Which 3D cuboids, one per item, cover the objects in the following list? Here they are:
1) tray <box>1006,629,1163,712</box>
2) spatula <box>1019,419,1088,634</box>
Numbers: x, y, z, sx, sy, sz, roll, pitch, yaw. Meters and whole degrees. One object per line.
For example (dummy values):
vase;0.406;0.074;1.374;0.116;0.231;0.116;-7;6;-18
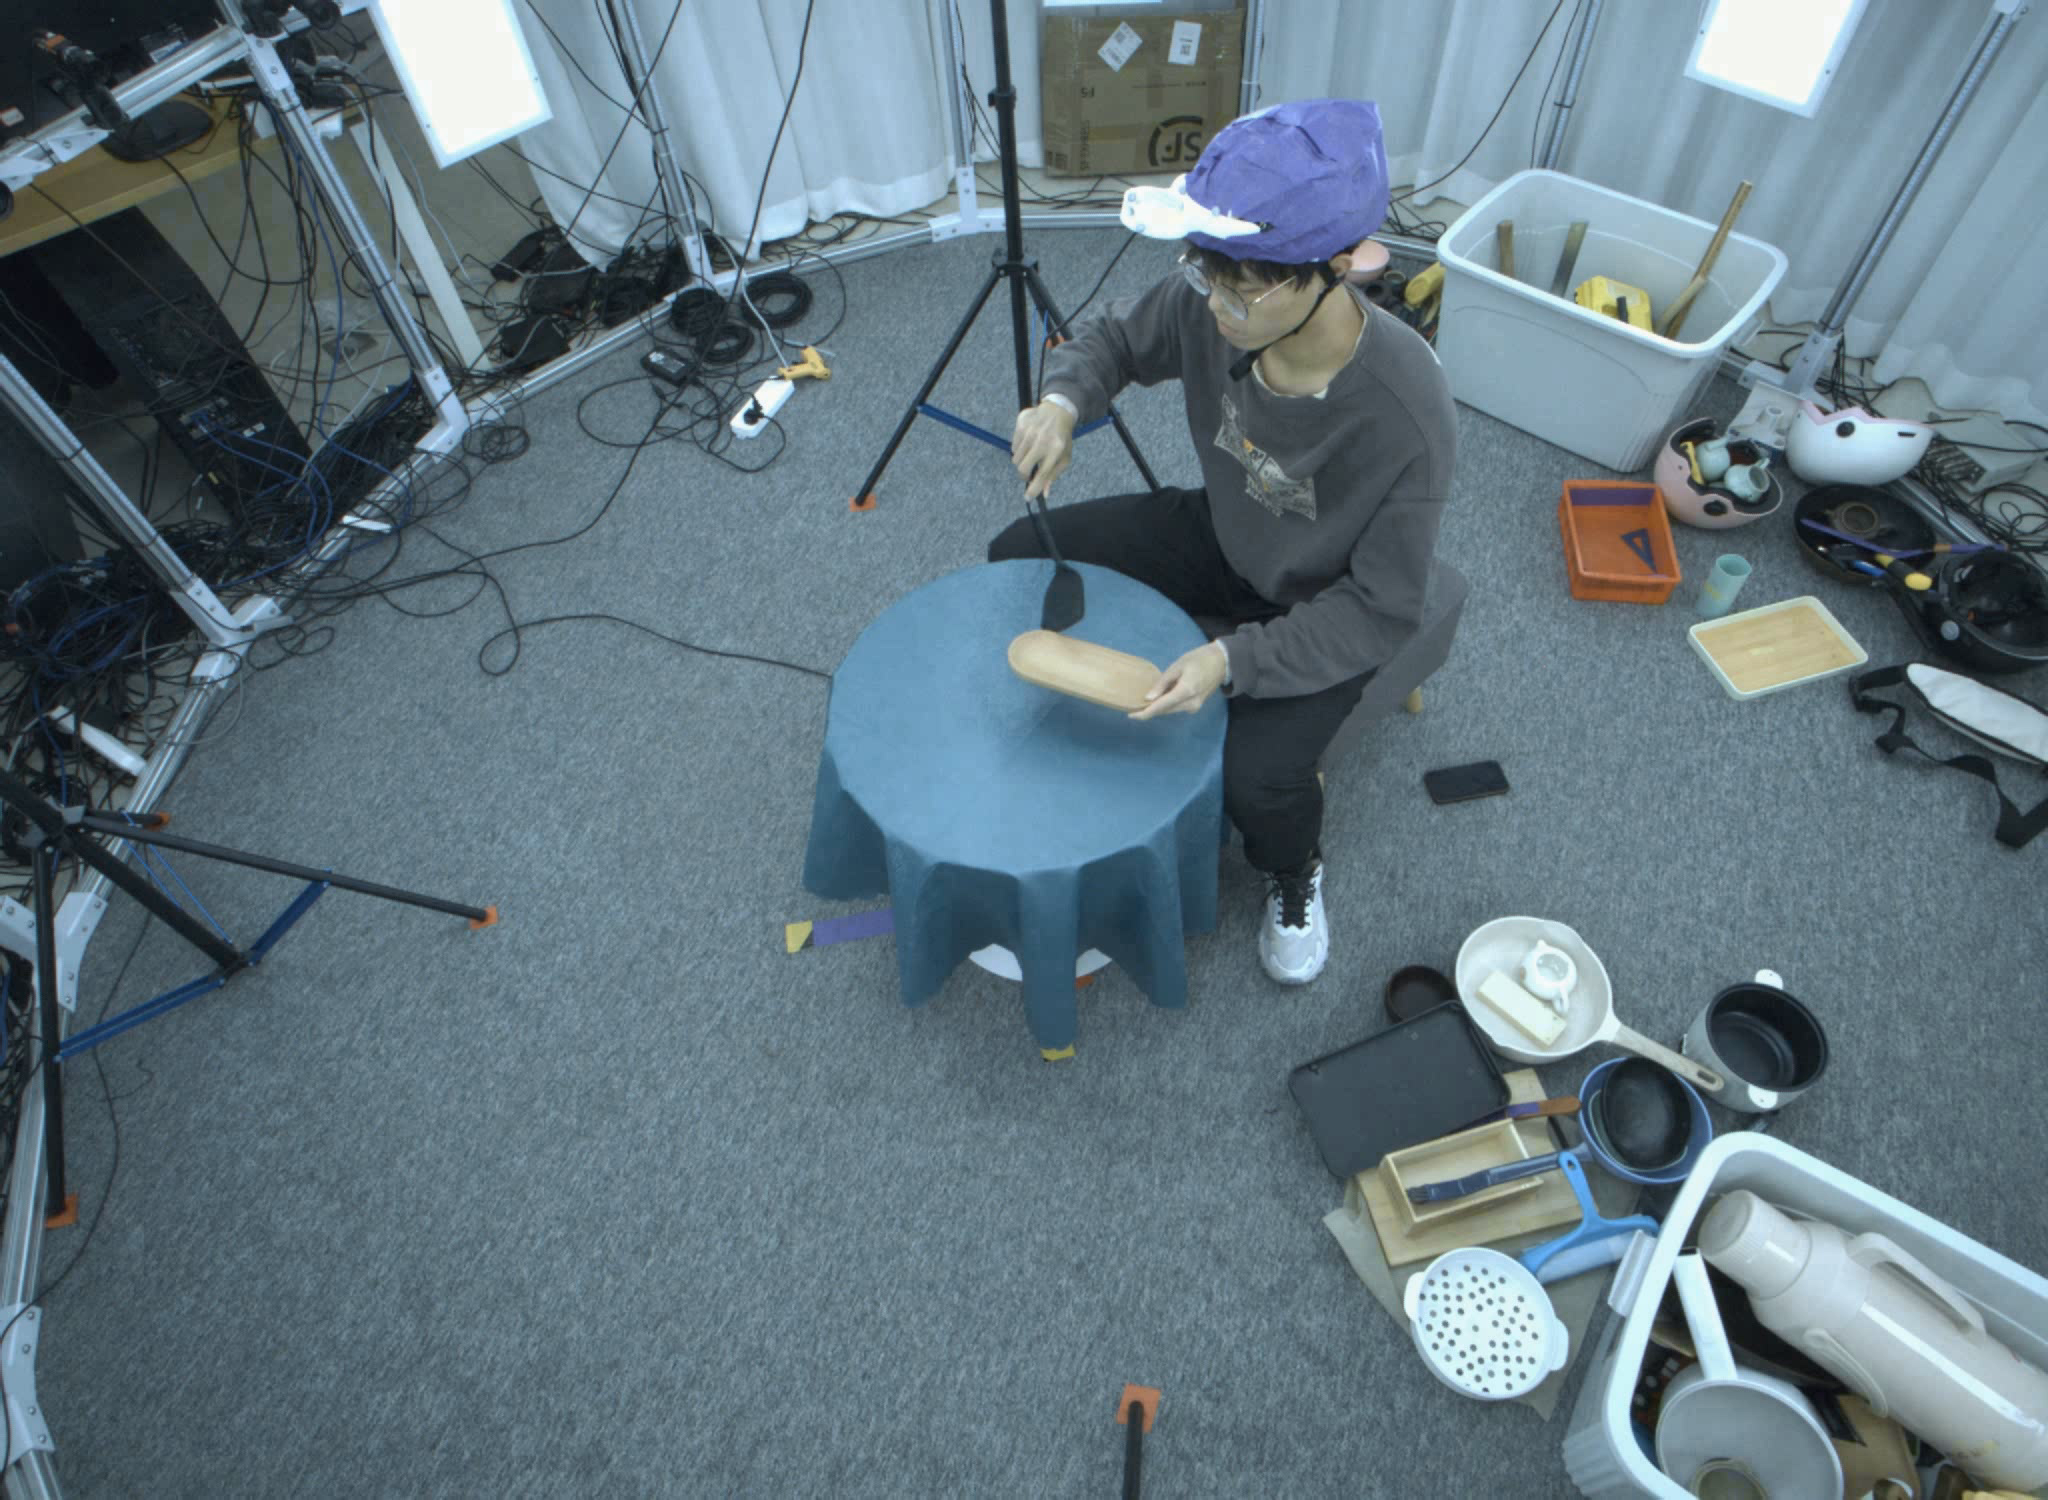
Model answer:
tray;0.085;-0.113;1.746;0.229;0.020;0.101;18;49;11
spatula;0.029;-0.332;1.782;0.041;0.098;0.326;-16;89;-41
